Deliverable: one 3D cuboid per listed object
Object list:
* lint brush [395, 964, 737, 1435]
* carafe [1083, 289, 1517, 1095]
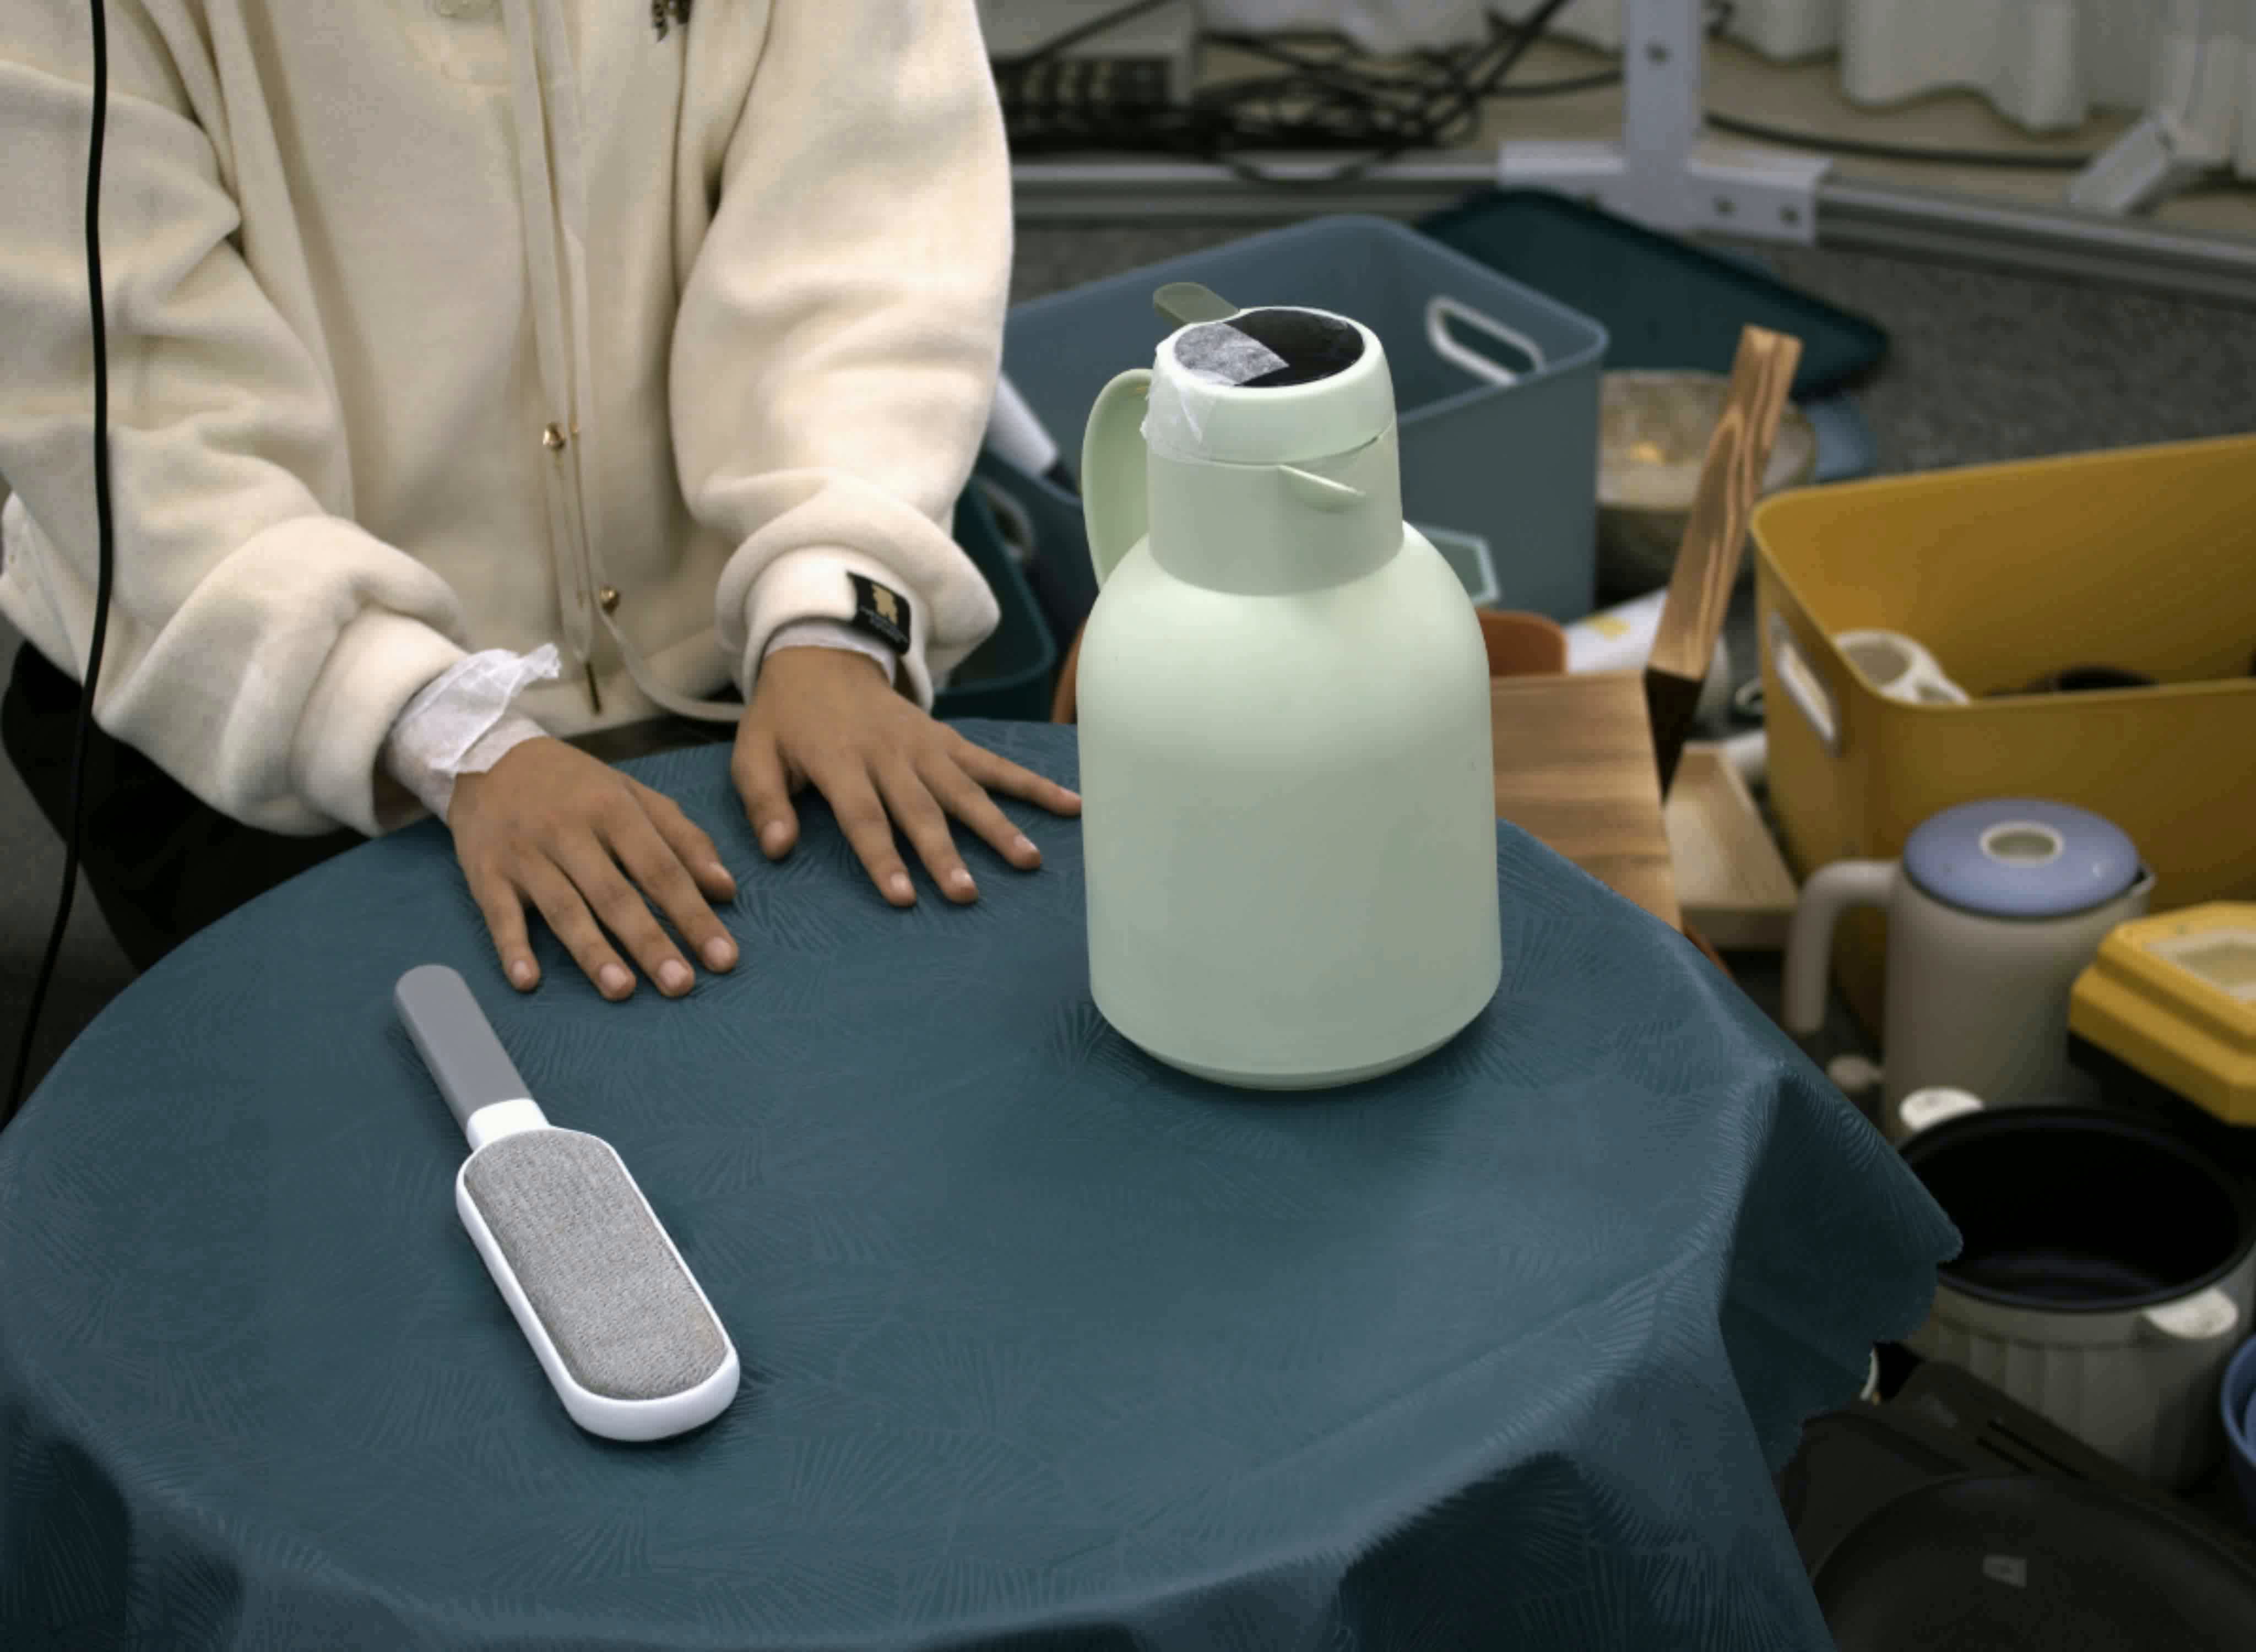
[{"bbox_3d":[-0.194,0.119,1.860,0.060,0.021,0.311,-14,29,-16],"label":"lint brush"},{"bbox_3d":[0.047,-0.052,1.925,0.145,0.254,0.187,-18,26,-25],"label":"carafe"}]
